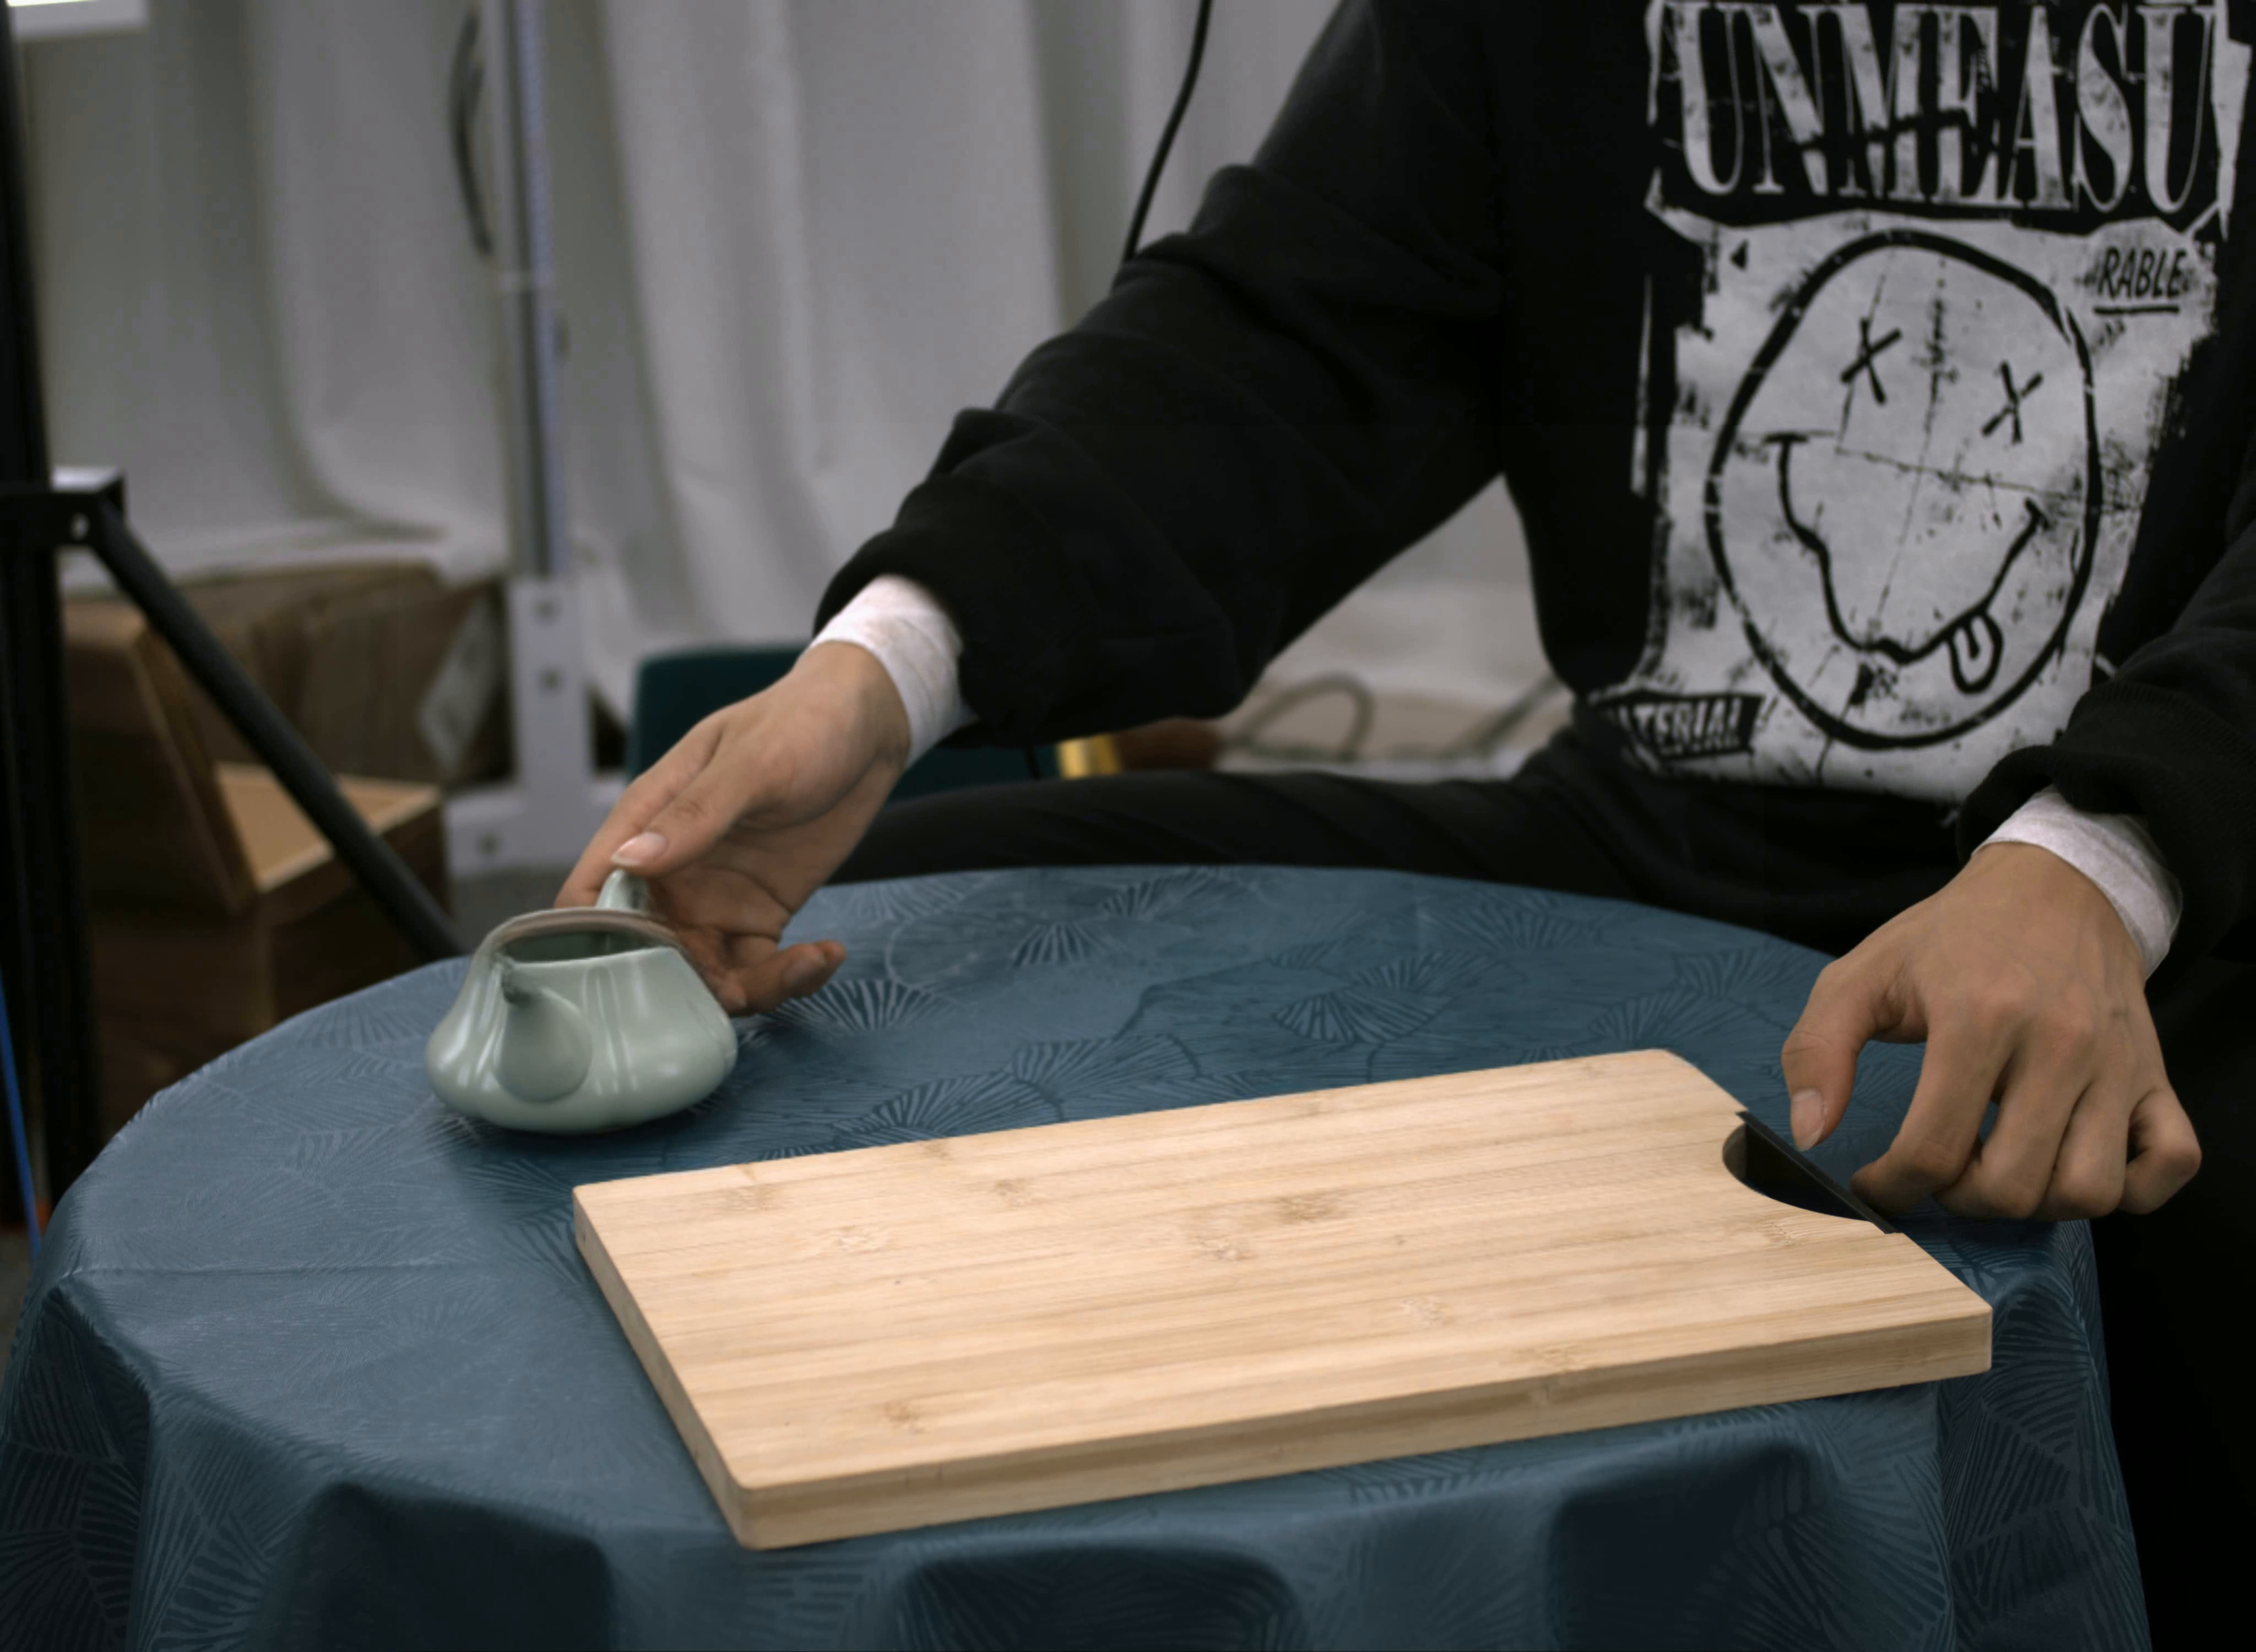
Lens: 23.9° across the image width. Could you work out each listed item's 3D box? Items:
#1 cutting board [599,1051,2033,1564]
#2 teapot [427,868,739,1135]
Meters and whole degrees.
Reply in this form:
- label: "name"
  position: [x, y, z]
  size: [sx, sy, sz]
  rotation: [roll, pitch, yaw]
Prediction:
- label: "cutting board"
  position: [0.040, 0.125, 1.460]
  size: [0.343, 0.023, 0.254]
  rotation: [-7, 16, -14]
- label: "teapot"
  position: [-0.168, 0.057, 1.651]
  size: [0.096, 0.061, 0.136]
  rotation: [-1, 16, 9]
